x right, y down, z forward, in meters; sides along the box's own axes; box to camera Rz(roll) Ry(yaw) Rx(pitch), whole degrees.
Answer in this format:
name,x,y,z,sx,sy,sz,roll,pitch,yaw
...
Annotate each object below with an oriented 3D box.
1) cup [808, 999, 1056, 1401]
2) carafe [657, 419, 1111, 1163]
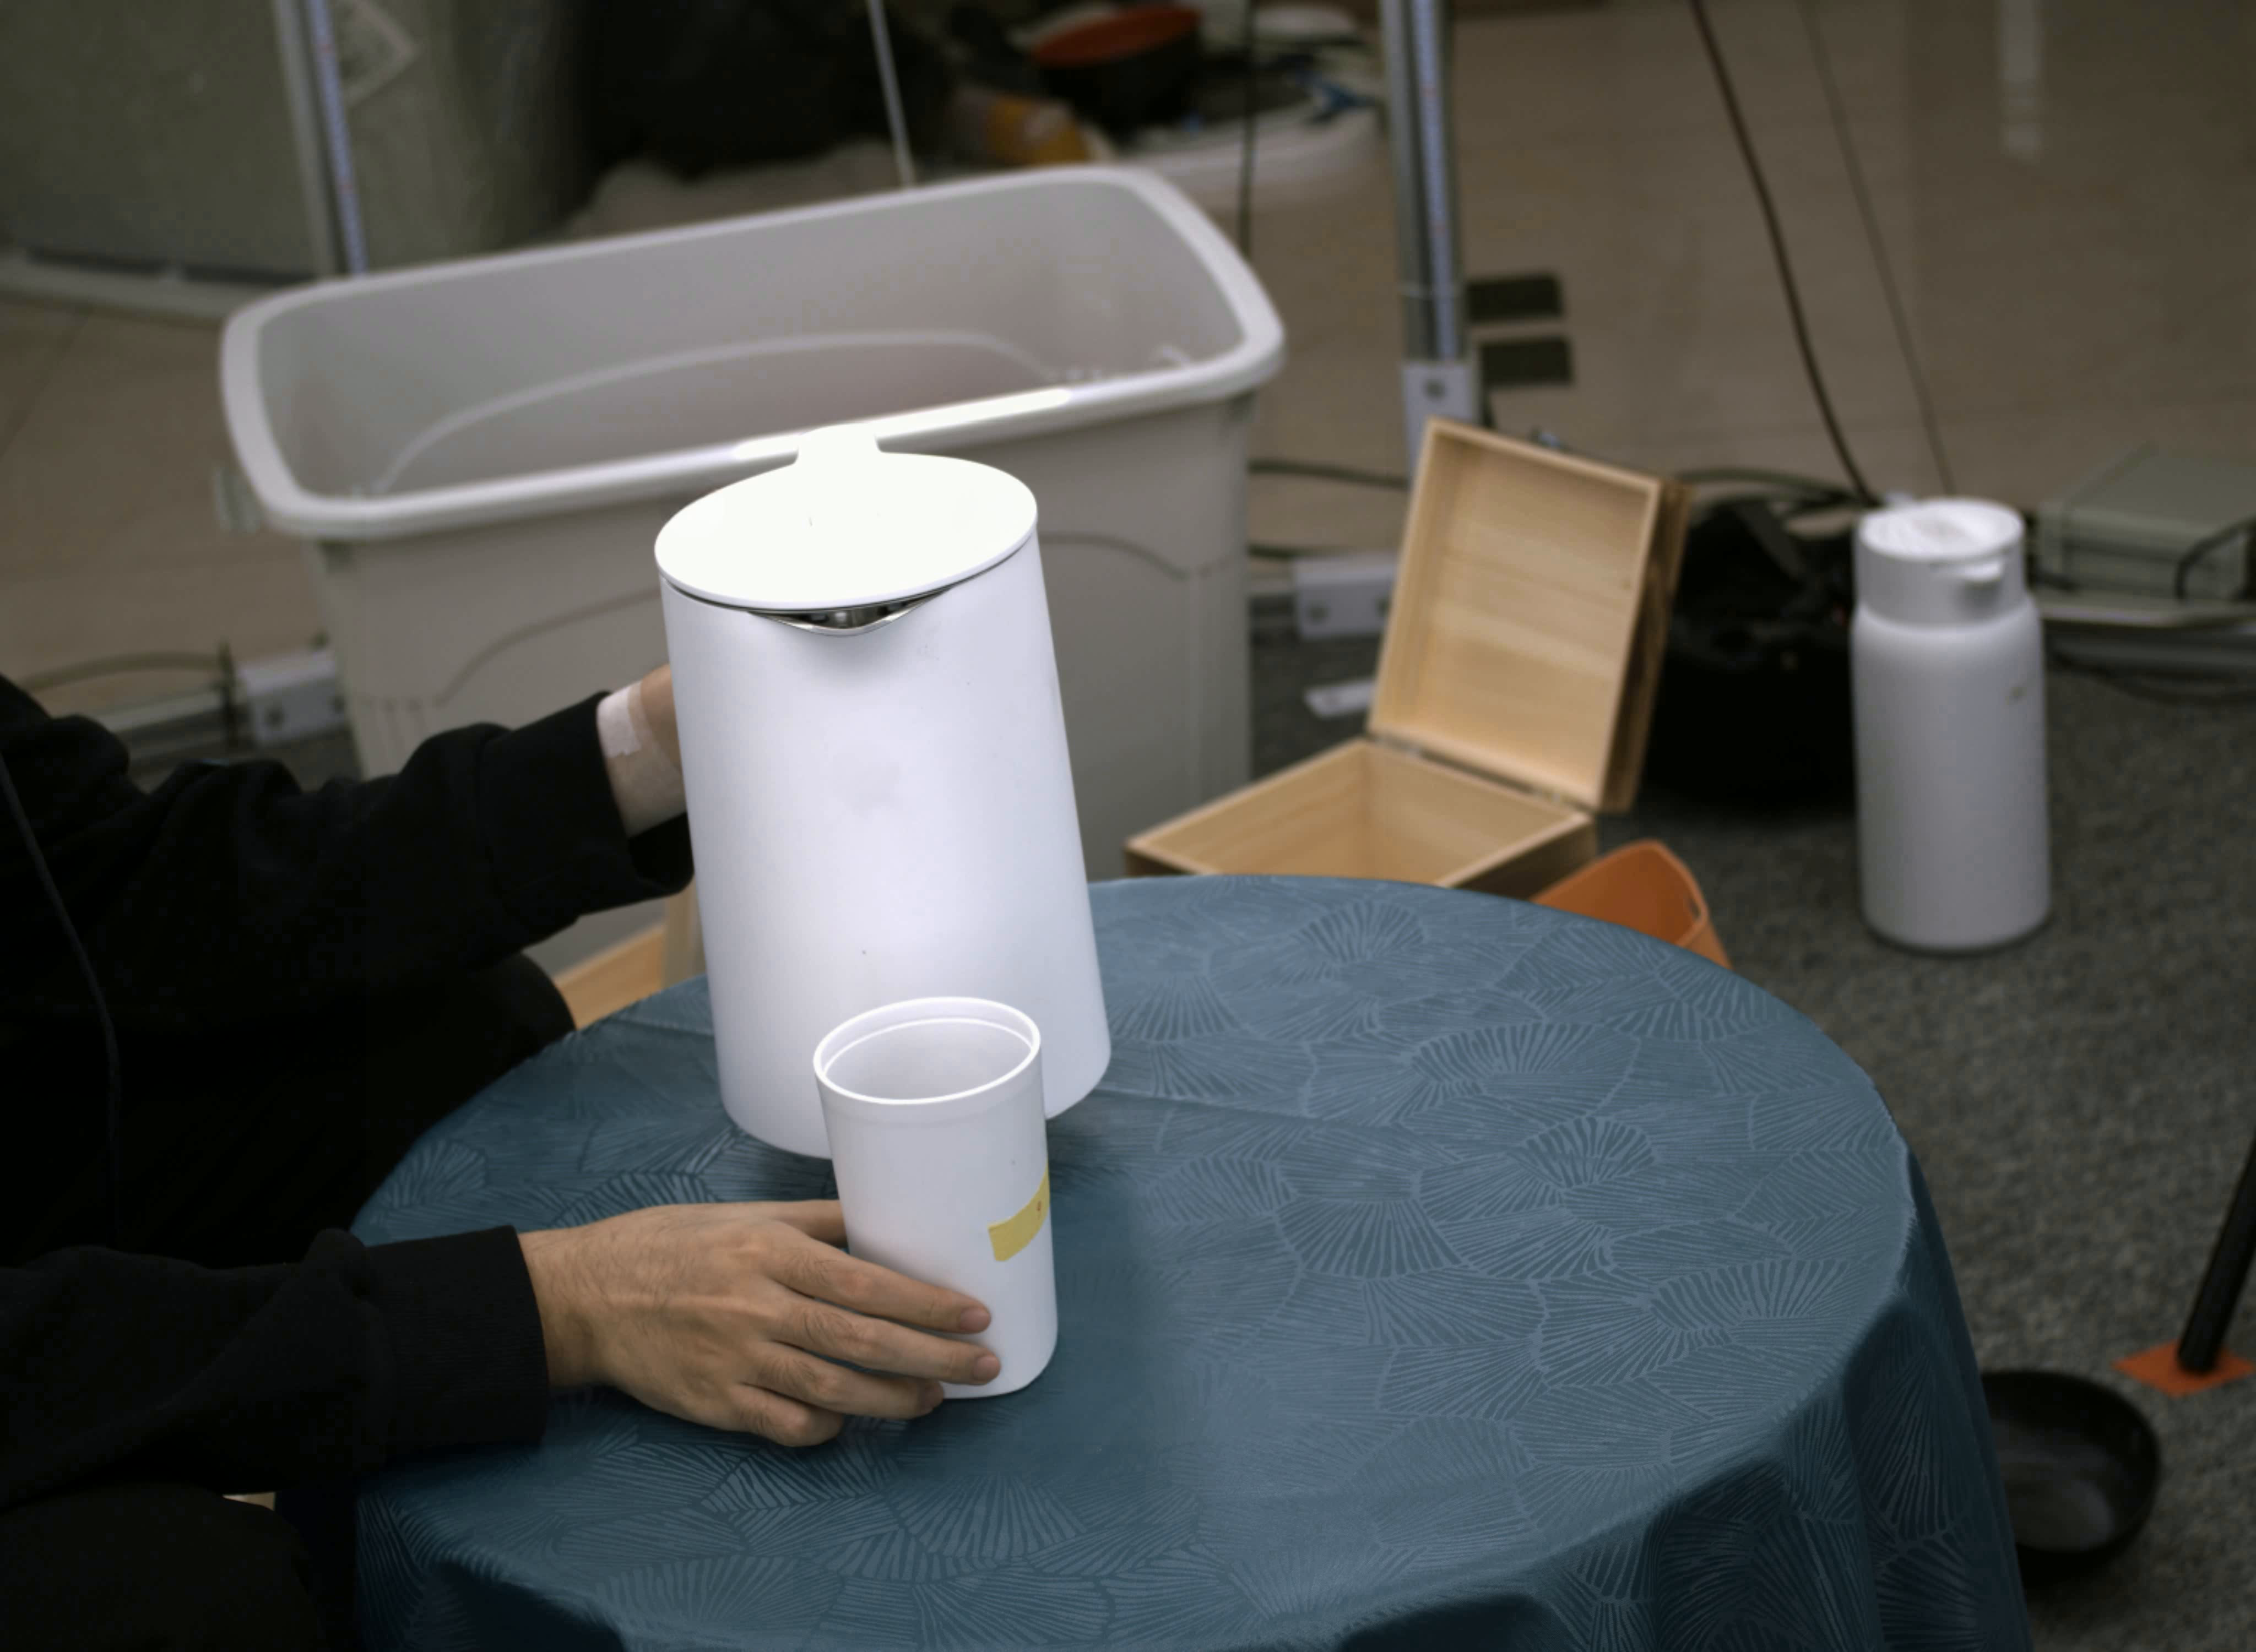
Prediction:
name,x,y,z,sx,sy,sz,roll,pitch,yaw
cup,-0.065,0.135,2.020,0.081,0.127,0.080,-6,25,3
carafe,-0.093,-0.020,2.160,0.152,0.244,0.210,-6,26,-1
